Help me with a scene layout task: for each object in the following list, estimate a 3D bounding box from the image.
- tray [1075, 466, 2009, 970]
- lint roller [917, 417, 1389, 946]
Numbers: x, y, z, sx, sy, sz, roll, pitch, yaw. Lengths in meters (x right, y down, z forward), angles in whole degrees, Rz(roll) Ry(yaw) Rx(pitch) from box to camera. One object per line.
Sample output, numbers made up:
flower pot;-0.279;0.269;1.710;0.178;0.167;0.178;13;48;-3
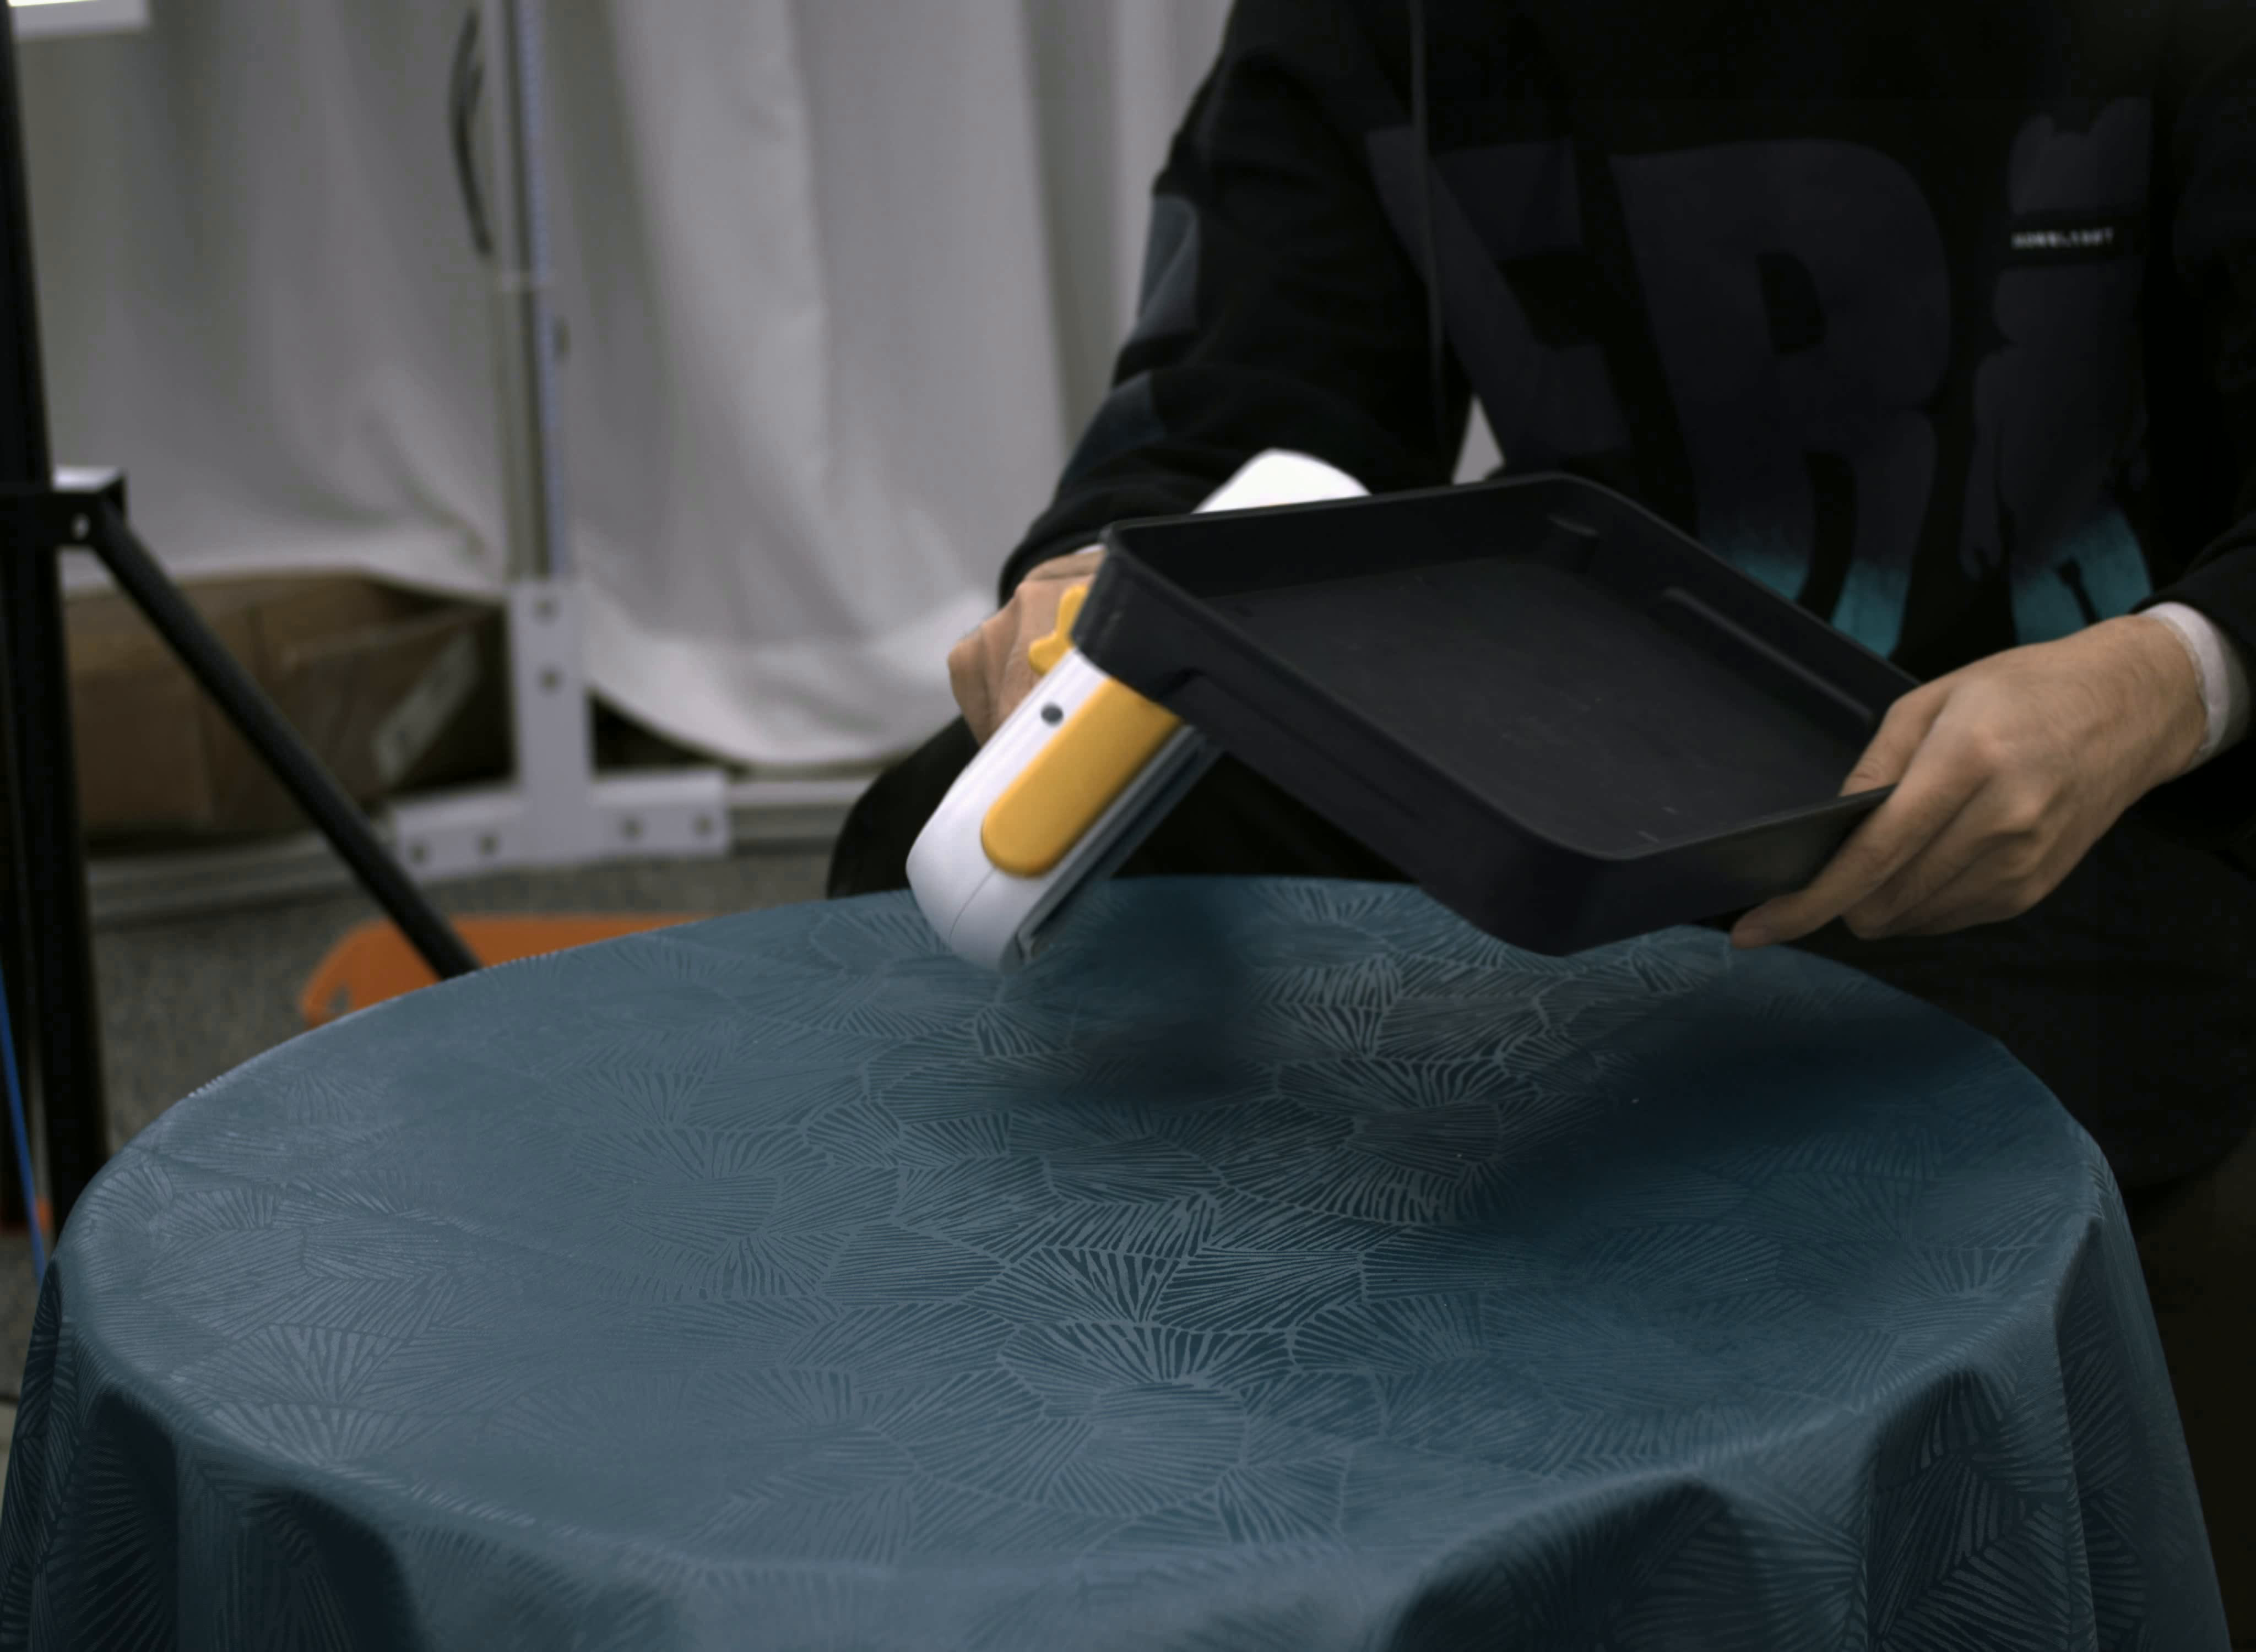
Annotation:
tray;0.130;-0.038;1.587;0.187;0.037;0.311;34;23;23
lint roller;-0.004;-0.038;1.716;0.074;0.192;0.193;37;-13;1
